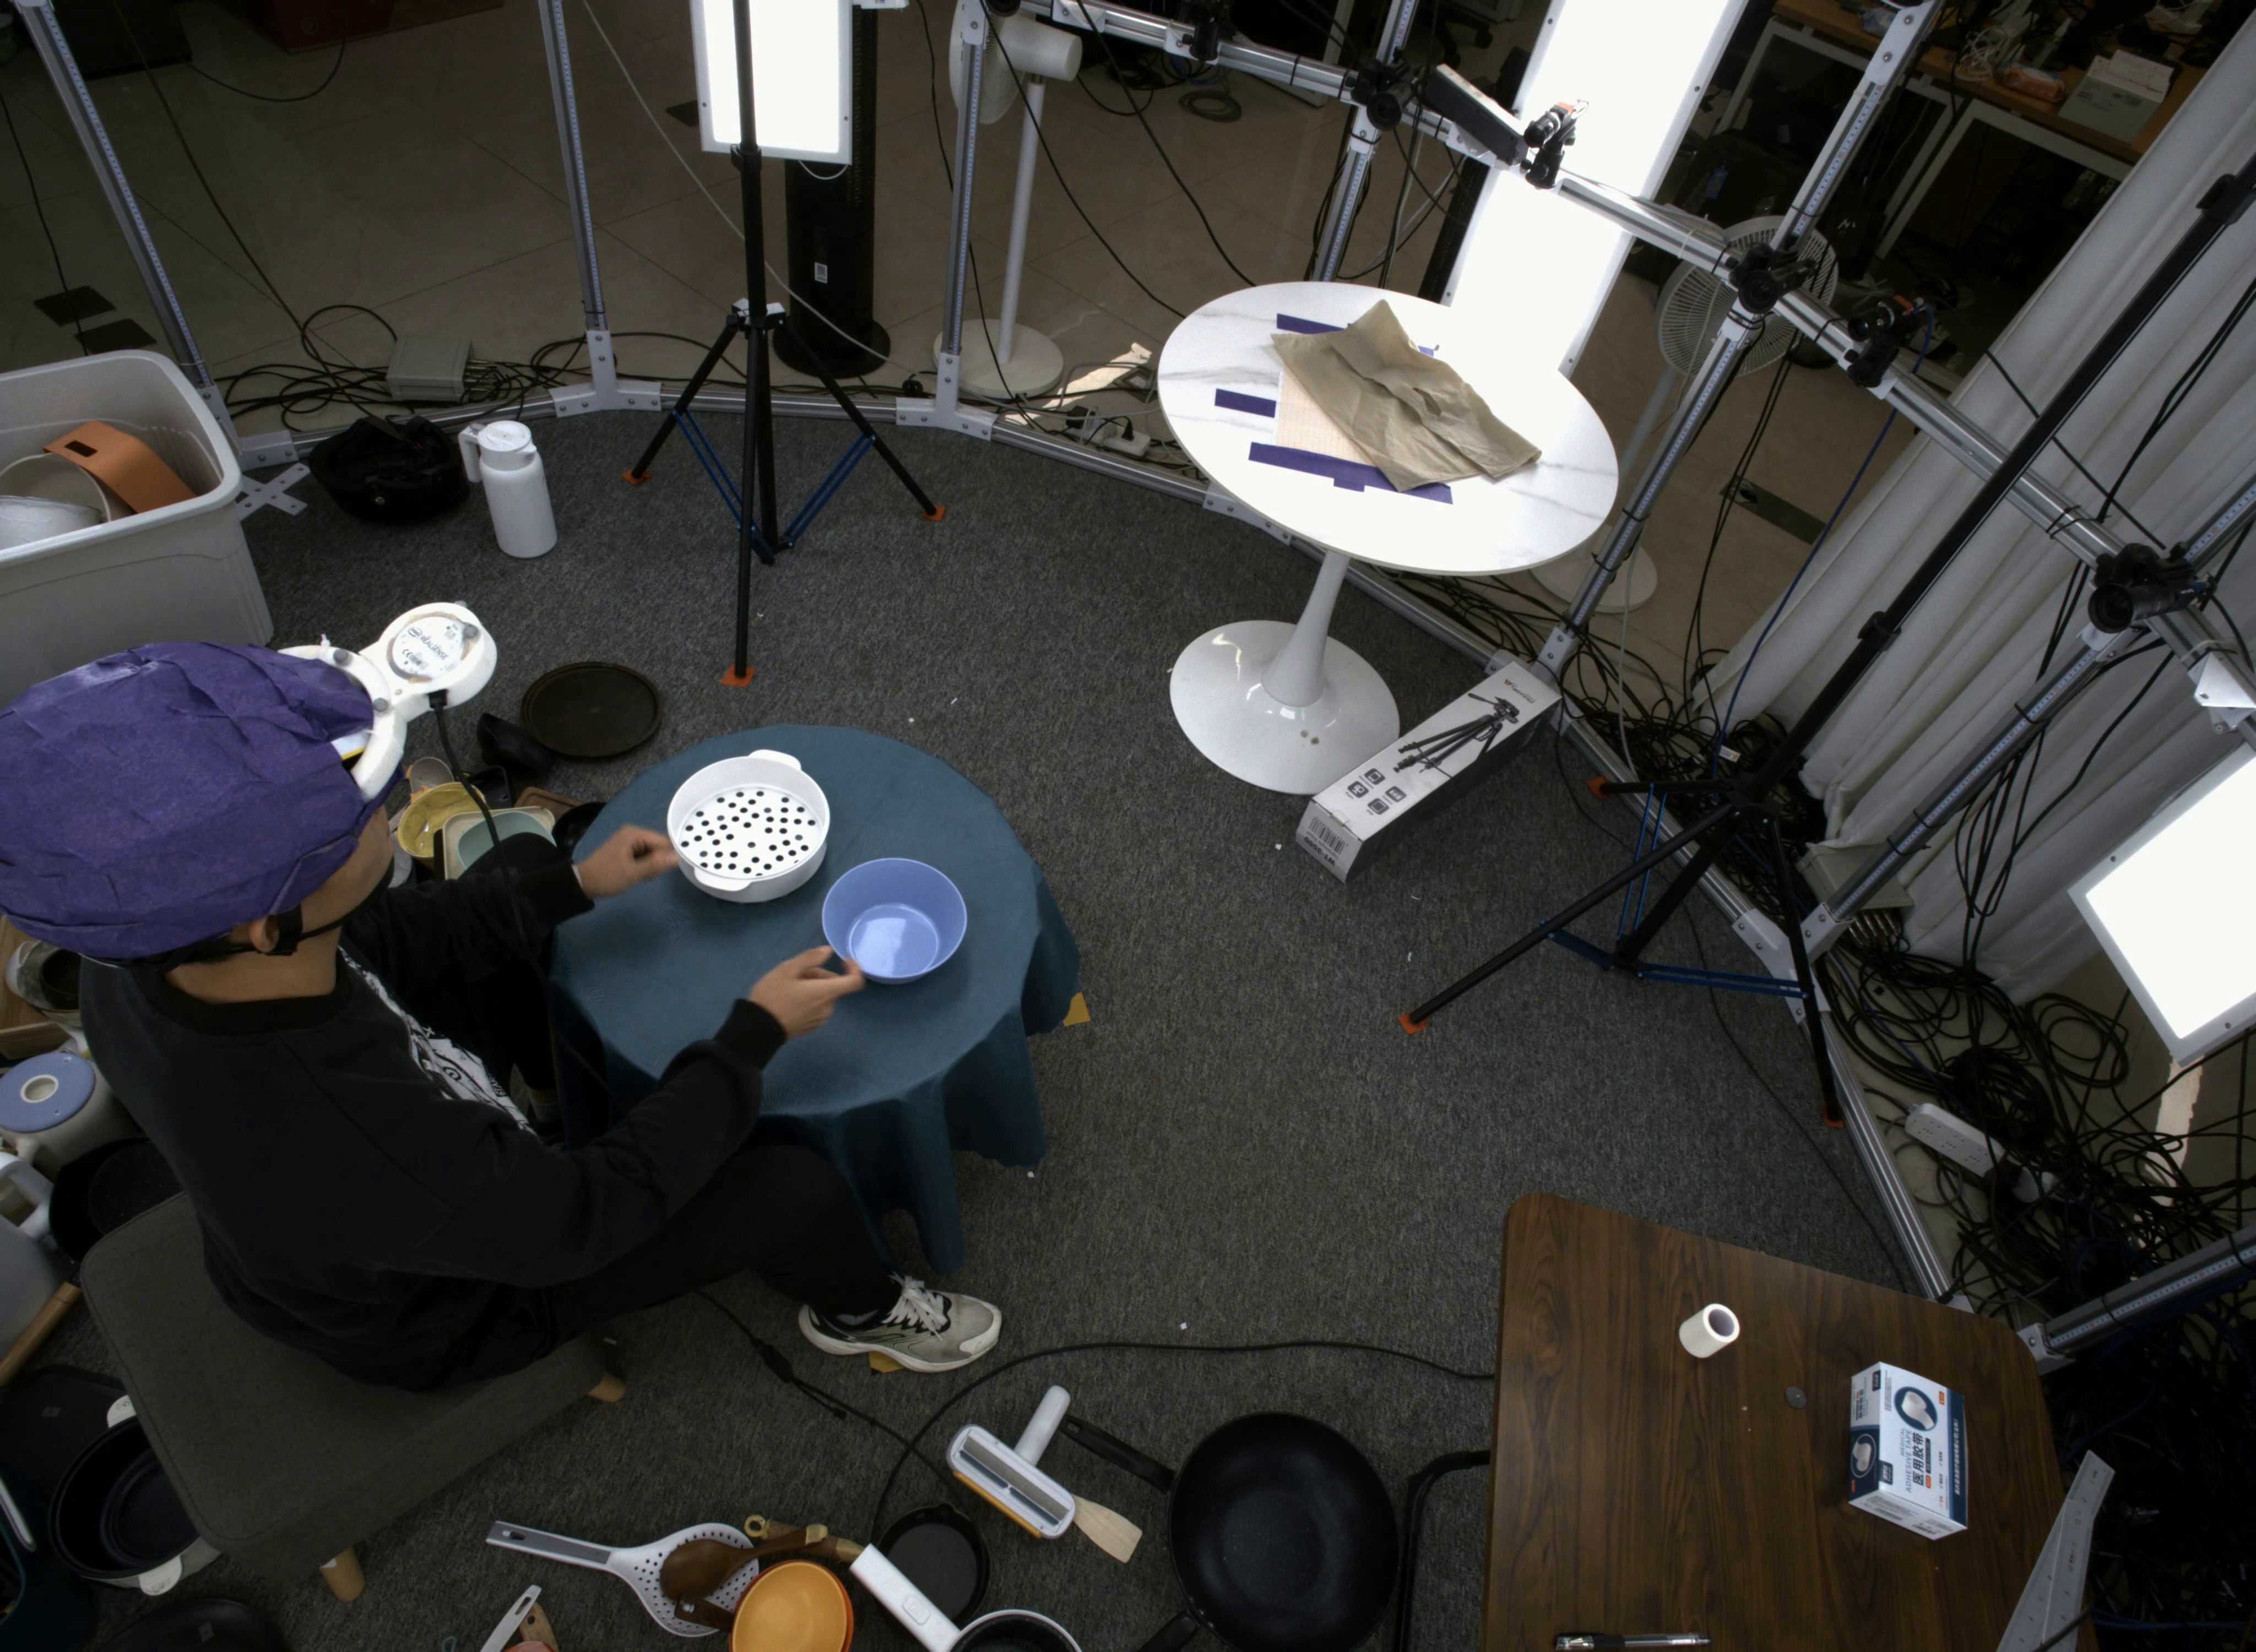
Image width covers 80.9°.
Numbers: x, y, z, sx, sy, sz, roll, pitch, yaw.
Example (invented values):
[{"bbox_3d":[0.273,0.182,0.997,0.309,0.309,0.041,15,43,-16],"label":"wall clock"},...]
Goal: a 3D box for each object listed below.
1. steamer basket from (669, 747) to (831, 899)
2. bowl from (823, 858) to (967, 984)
[{"bbox_3d":[-0.486,0.001,1.668,0.201,0.070,0.227,14,50,-4],"label":"steamer basket"},{"bbox_3d":[-0.290,0.128,1.622,0.175,0.072,0.173,7,52,-8],"label":"bowl"}]
